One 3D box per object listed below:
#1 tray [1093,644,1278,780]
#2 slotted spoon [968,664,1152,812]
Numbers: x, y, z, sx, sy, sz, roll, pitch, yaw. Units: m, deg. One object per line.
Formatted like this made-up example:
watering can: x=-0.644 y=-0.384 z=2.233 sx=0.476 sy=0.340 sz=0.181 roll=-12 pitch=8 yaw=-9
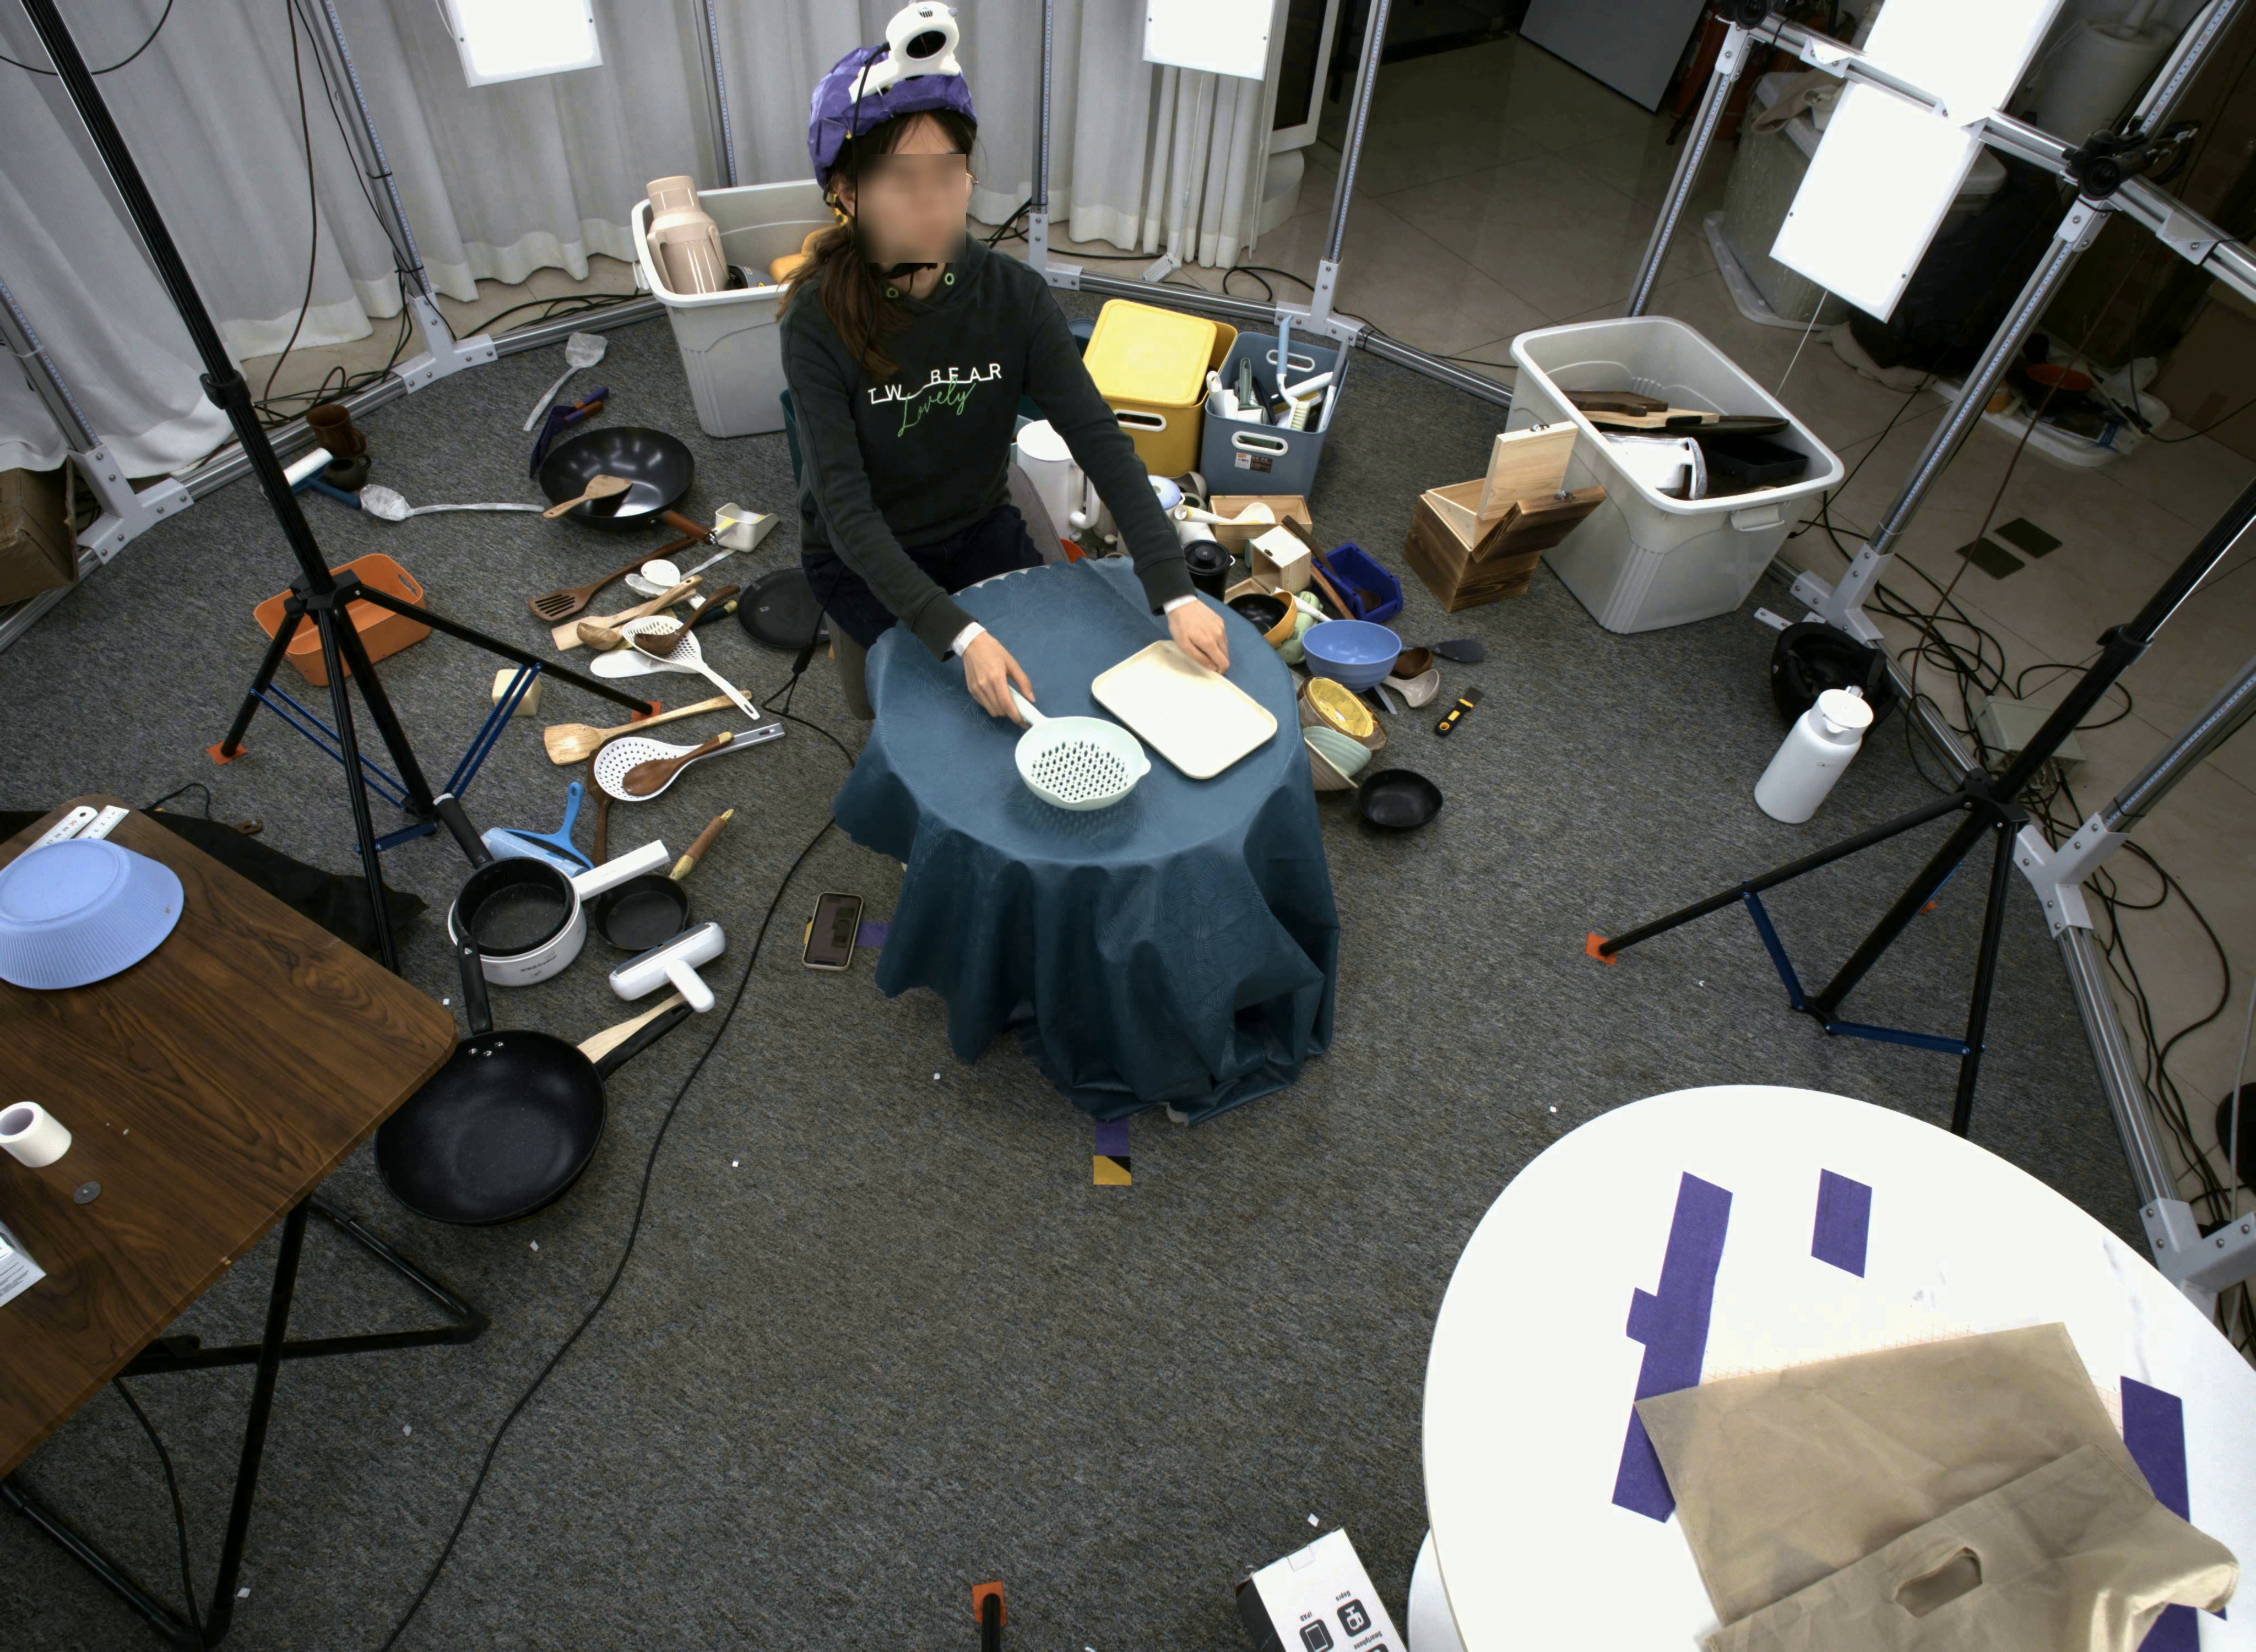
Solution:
tray: x=0.080 y=-0.164 z=1.818 sx=0.172 sy=0.017 sz=0.243 roll=-34 pitch=58 yaw=-27
slotted spoon: x=-0.119 y=-0.136 z=1.749 sx=0.170 sy=0.073 sz=0.366 roll=-22 pitch=55 yaw=-29
